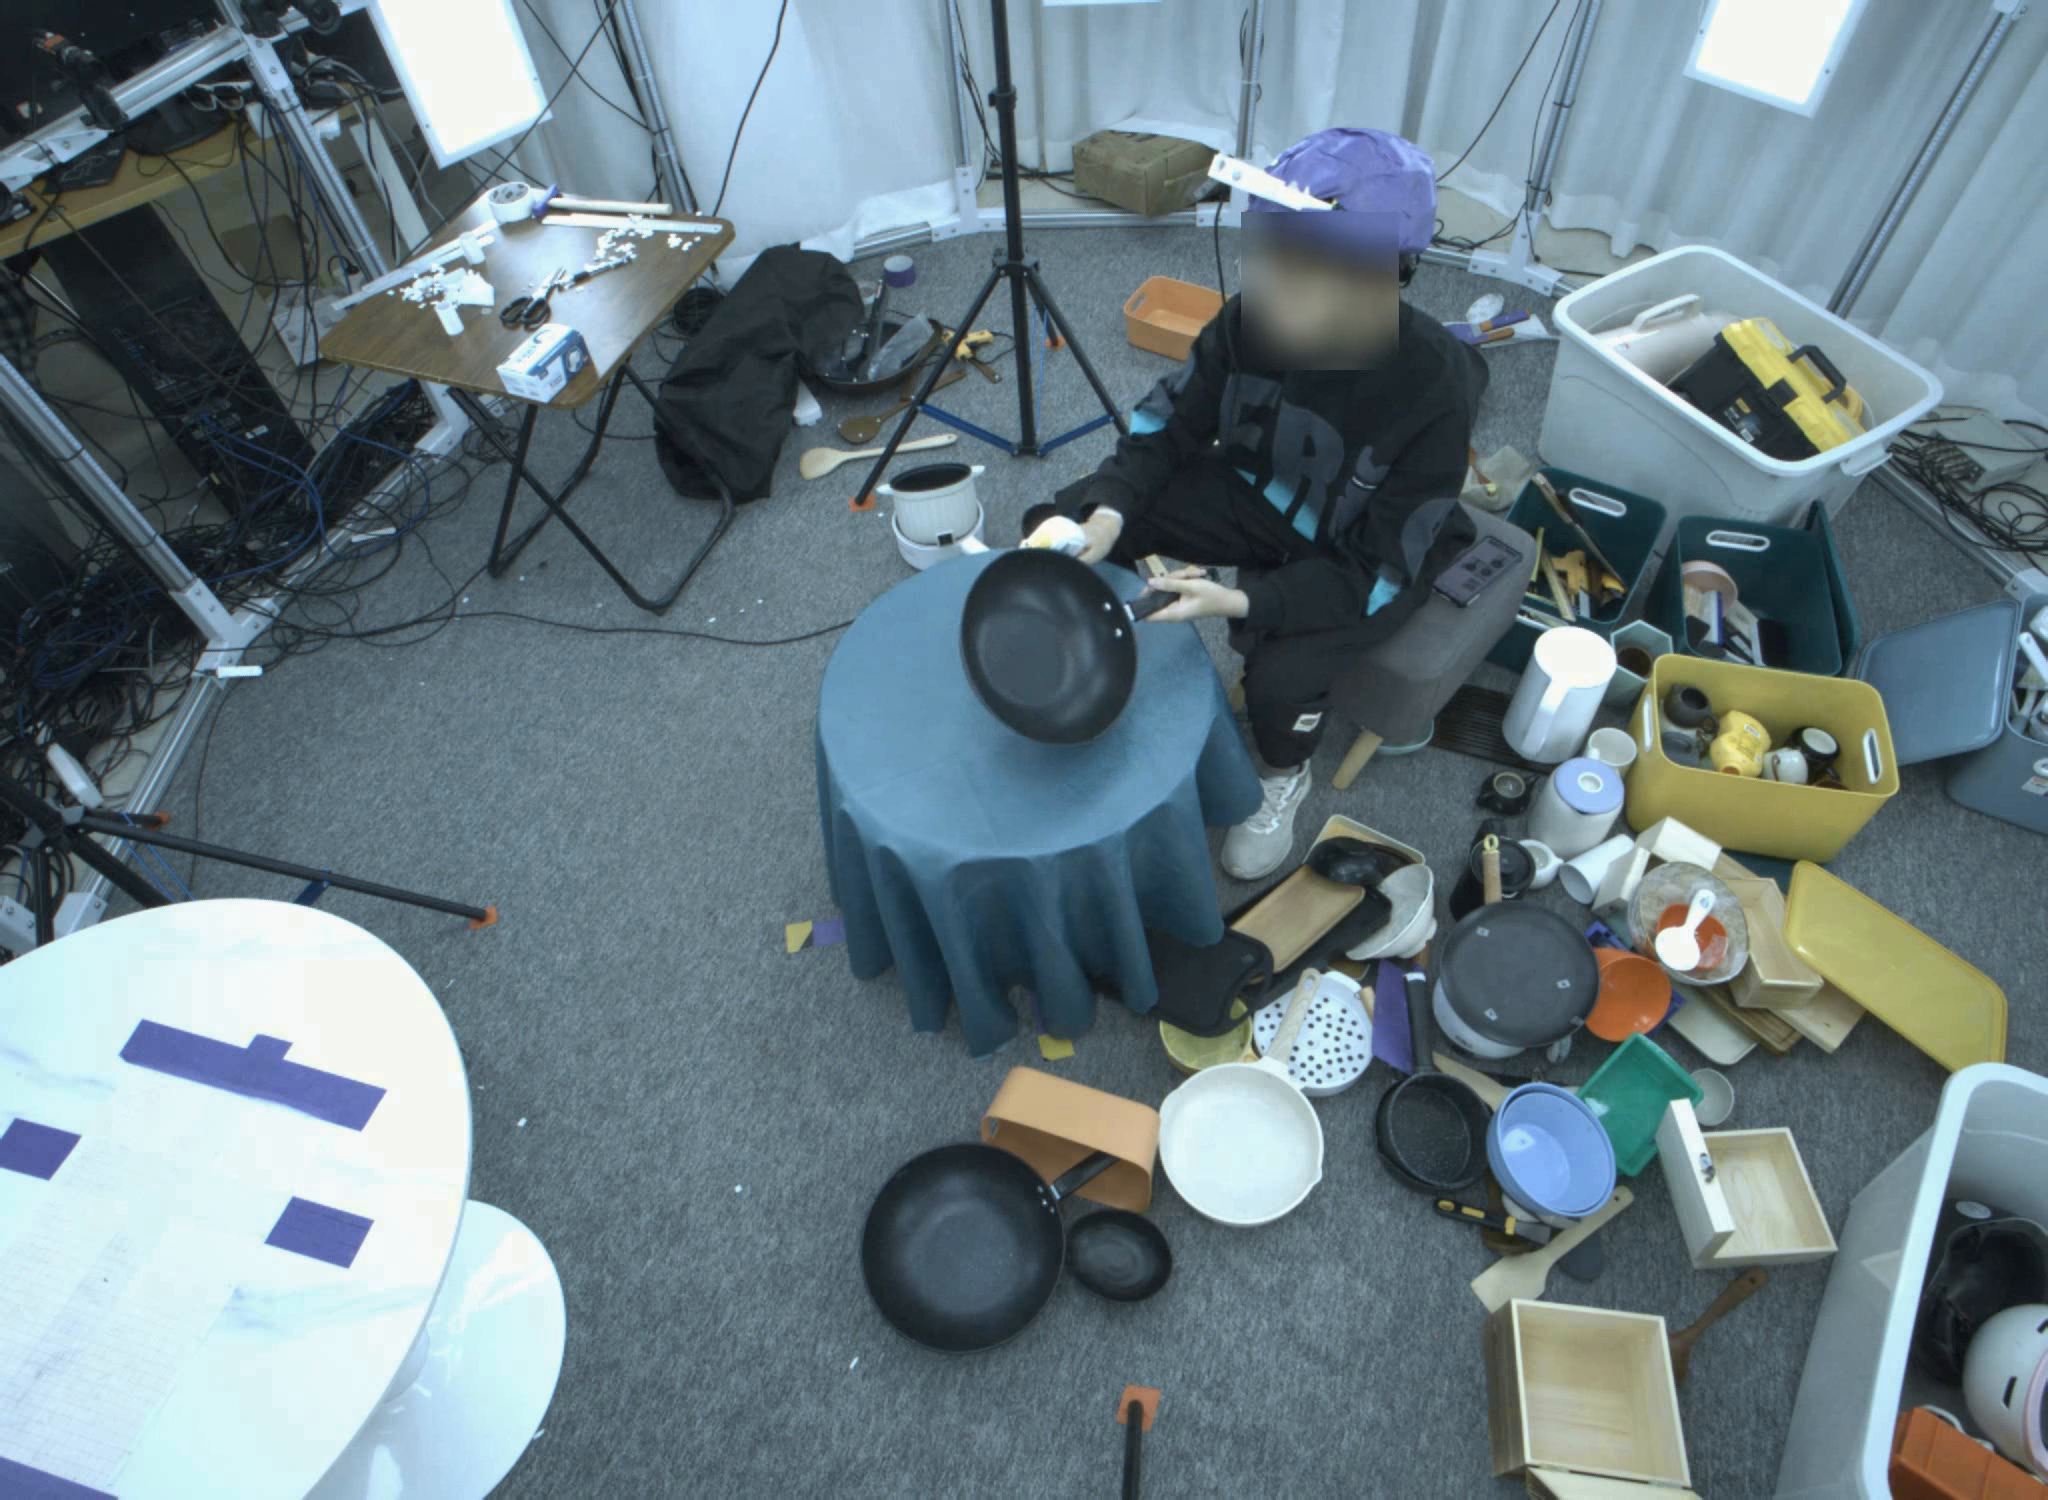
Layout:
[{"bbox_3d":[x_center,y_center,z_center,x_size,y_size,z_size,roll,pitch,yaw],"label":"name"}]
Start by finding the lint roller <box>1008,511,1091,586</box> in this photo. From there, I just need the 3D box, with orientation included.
[{"bbox_3d":[0.043,-0.281,1.828,0.073,0.191,0.196,53,29,16],"label":"lint roller"}]

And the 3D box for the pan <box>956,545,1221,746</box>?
[{"bbox_3d":[0.091,-0.173,1.766,0.469,0.085,0.289,-26,95,-30],"label":"pan"}]
